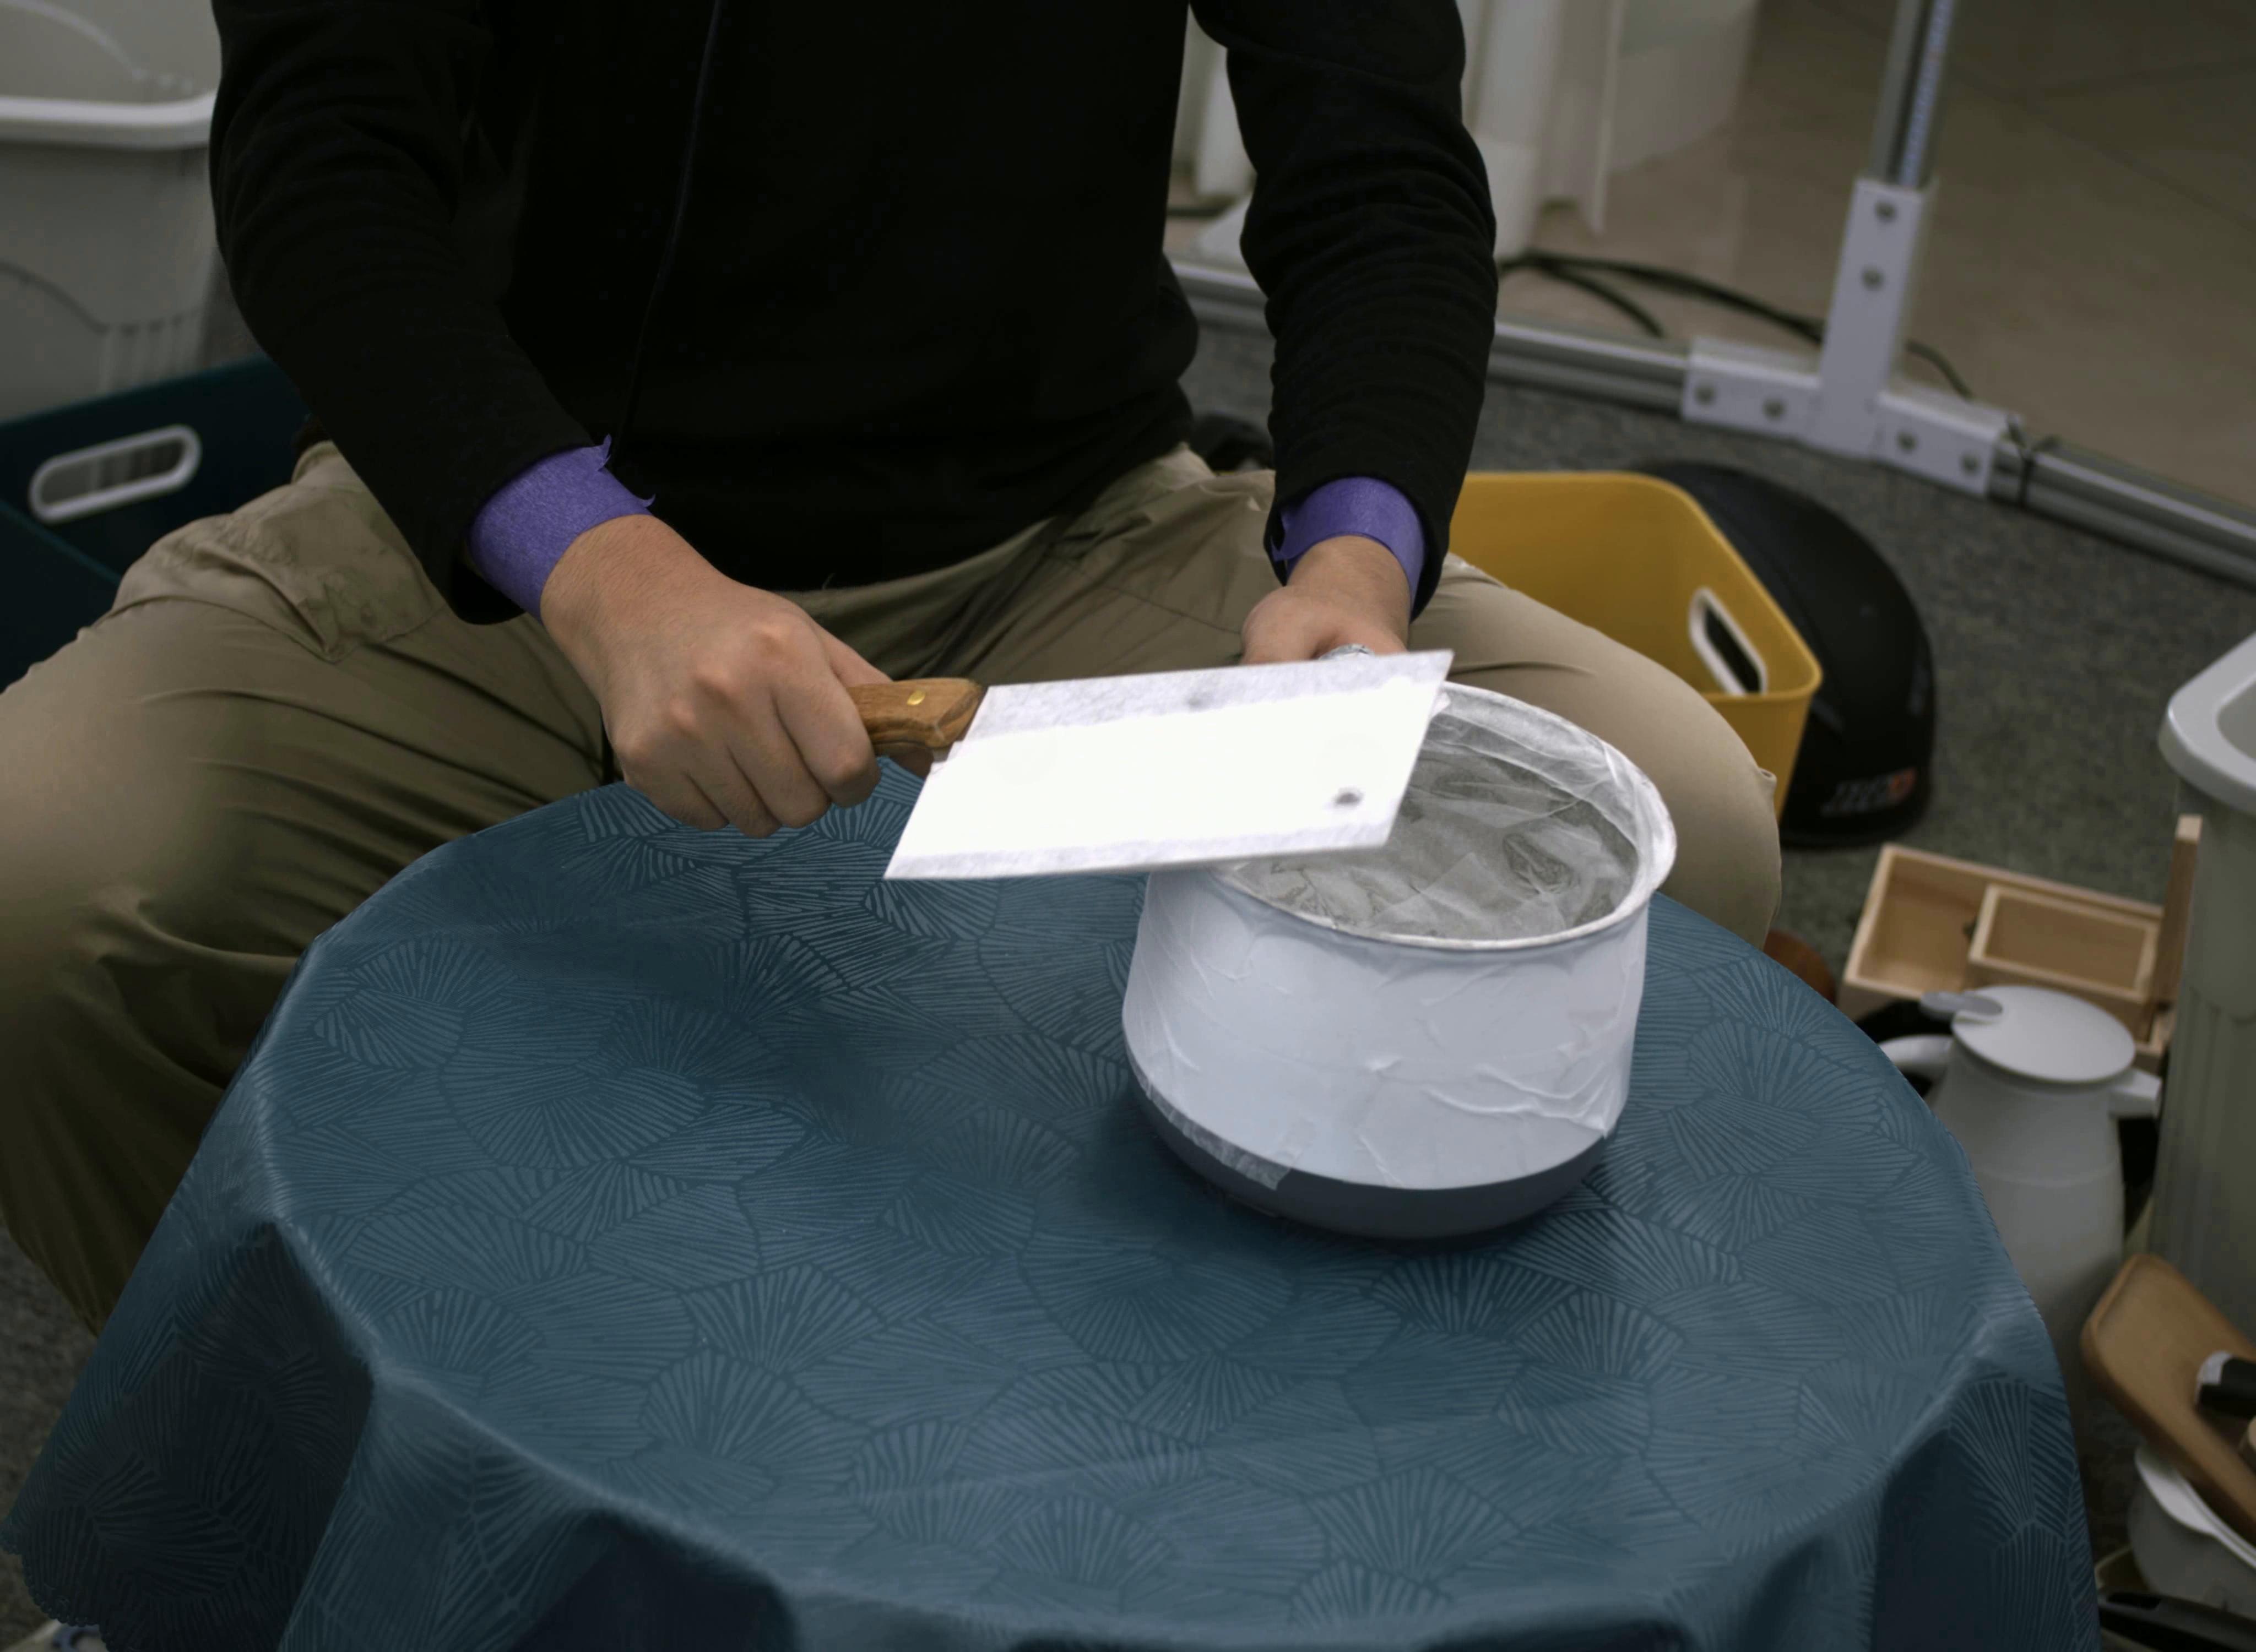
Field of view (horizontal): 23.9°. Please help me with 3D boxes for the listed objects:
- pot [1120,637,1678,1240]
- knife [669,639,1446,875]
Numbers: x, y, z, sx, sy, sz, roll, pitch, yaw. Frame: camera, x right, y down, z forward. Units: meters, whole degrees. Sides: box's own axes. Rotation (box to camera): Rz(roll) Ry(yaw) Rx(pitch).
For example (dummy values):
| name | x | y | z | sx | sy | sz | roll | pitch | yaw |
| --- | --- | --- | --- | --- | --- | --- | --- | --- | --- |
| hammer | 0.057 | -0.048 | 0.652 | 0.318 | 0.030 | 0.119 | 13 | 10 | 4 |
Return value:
| name | x | y | z | sx | sy | sz | roll | pitch | yaw |
| --- | --- | --- | --- | --- | --- | --- | --- | --- | --- |
| pot | 0.084 | 0.031 | 1.841 | 0.178 | 0.136 | 0.236 | 0 | 32 | -13 |
| knife | -0.035 | -0.020 | 1.812 | 0.306 | 0.021 | 0.093 | -5 | 43 | 30 |
